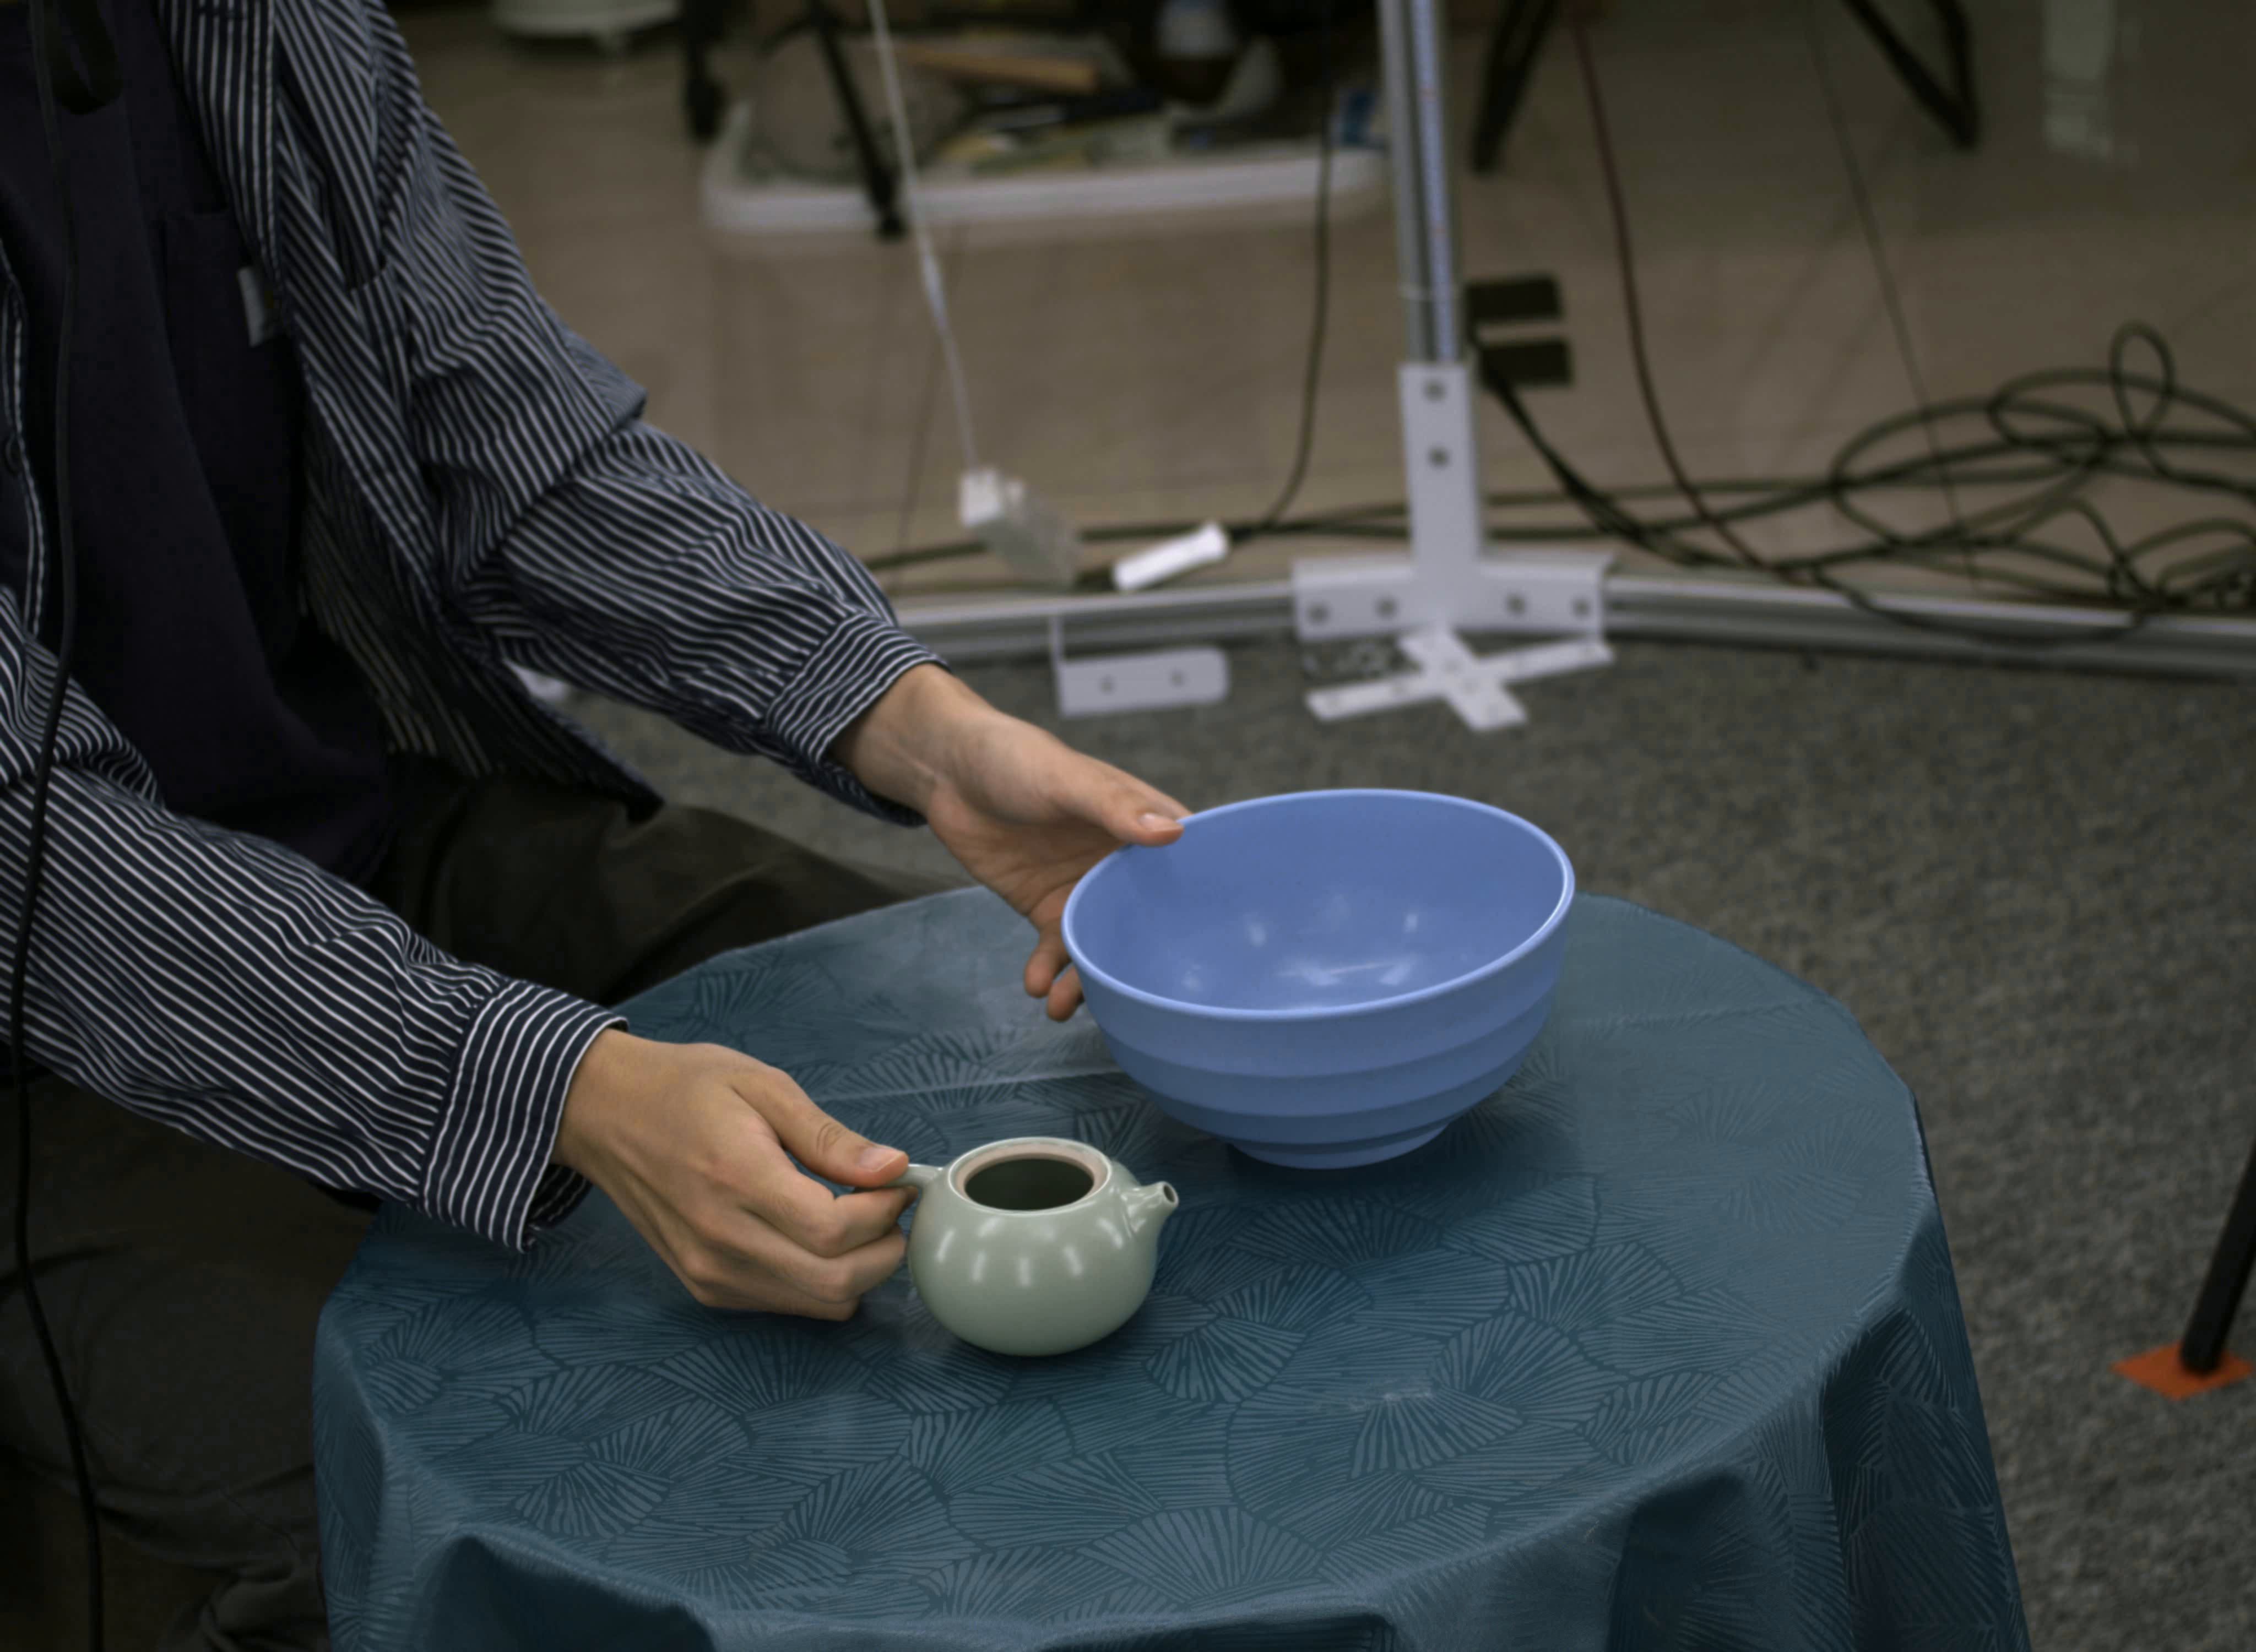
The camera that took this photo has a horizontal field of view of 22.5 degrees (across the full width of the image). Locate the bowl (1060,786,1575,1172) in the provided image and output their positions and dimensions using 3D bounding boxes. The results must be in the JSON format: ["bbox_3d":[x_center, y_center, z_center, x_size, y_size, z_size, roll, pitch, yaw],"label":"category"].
[{"bbox_3d":[0.077,0.069,2.170,0.196,0.097,0.193,-6,26,3],"label":"bowl"}]

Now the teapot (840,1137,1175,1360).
[{"bbox_3d":[-0.044,0.153,2.057,0.128,0.062,0.090,5,28,17],"label":"teapot"}]
